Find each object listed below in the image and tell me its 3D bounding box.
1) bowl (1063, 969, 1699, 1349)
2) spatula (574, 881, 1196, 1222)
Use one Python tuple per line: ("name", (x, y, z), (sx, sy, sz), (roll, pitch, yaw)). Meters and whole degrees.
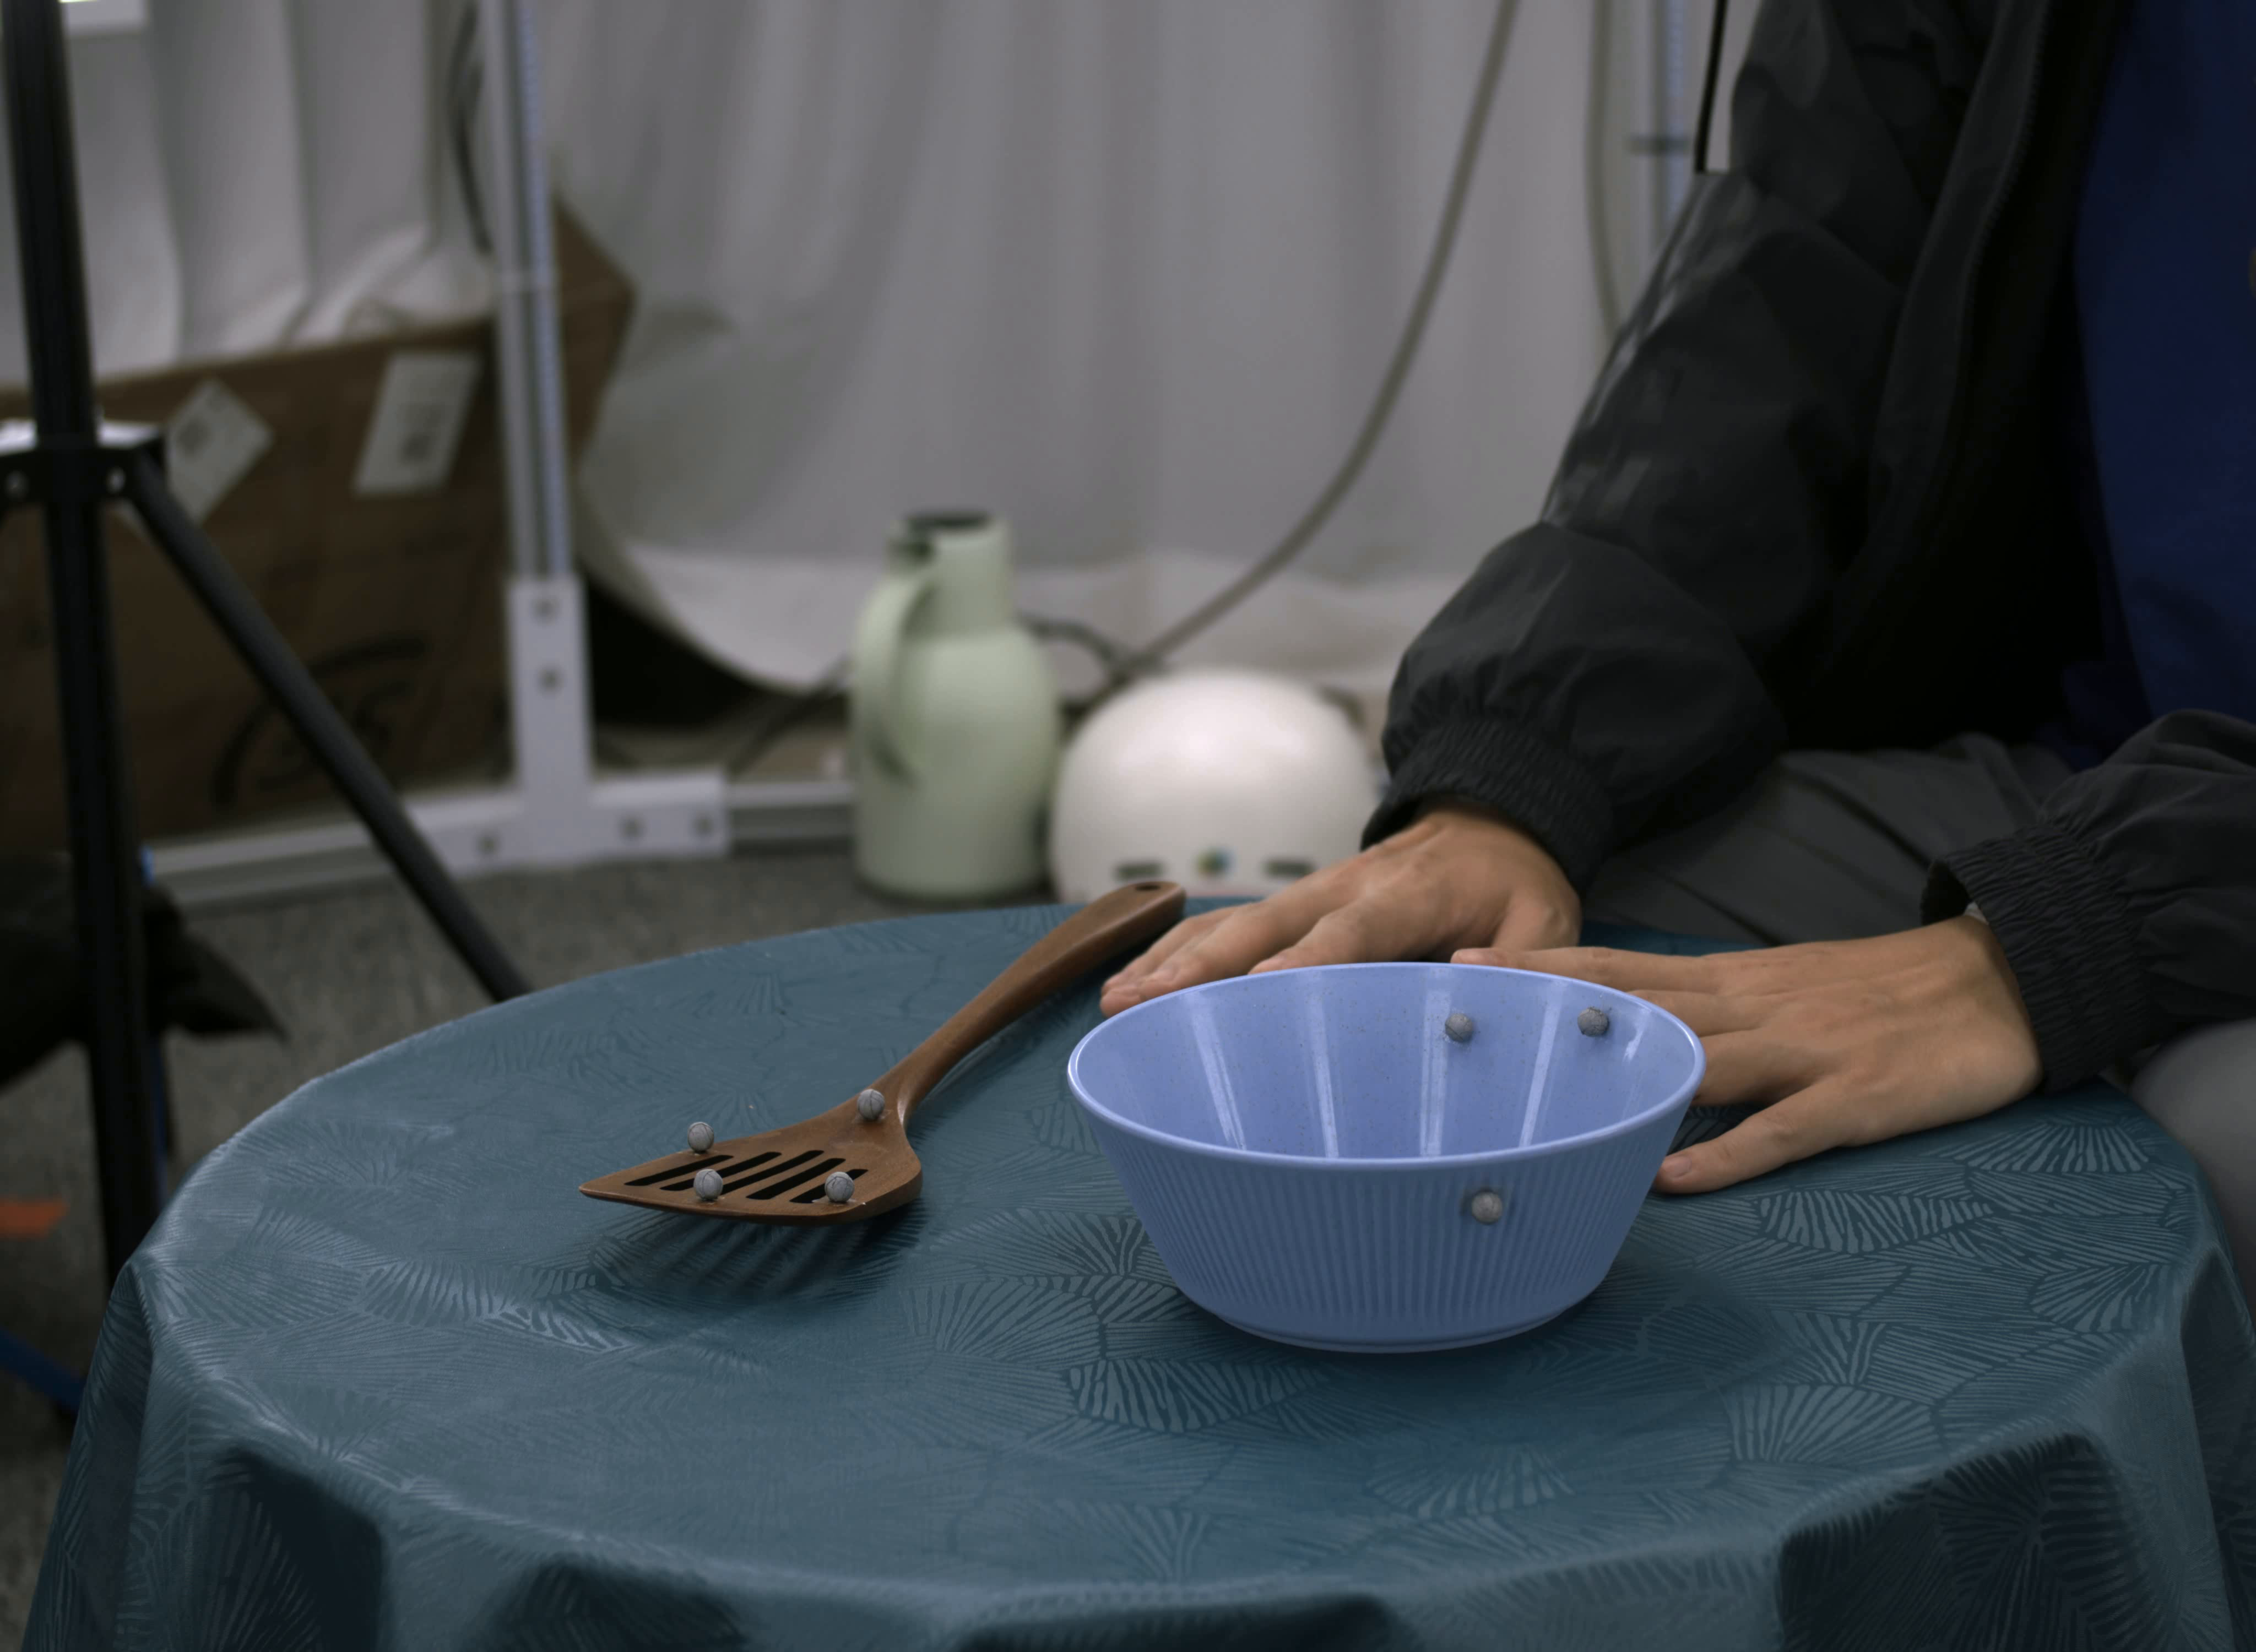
("bowl", (0.070, 0.094, 1.466), (0.175, 0.070, 0.177), (-2, 15, -1))
("spatula", (-0.055, 0.070, 1.663), (0.086, 0.024, 0.381), (5, 16, 22))
